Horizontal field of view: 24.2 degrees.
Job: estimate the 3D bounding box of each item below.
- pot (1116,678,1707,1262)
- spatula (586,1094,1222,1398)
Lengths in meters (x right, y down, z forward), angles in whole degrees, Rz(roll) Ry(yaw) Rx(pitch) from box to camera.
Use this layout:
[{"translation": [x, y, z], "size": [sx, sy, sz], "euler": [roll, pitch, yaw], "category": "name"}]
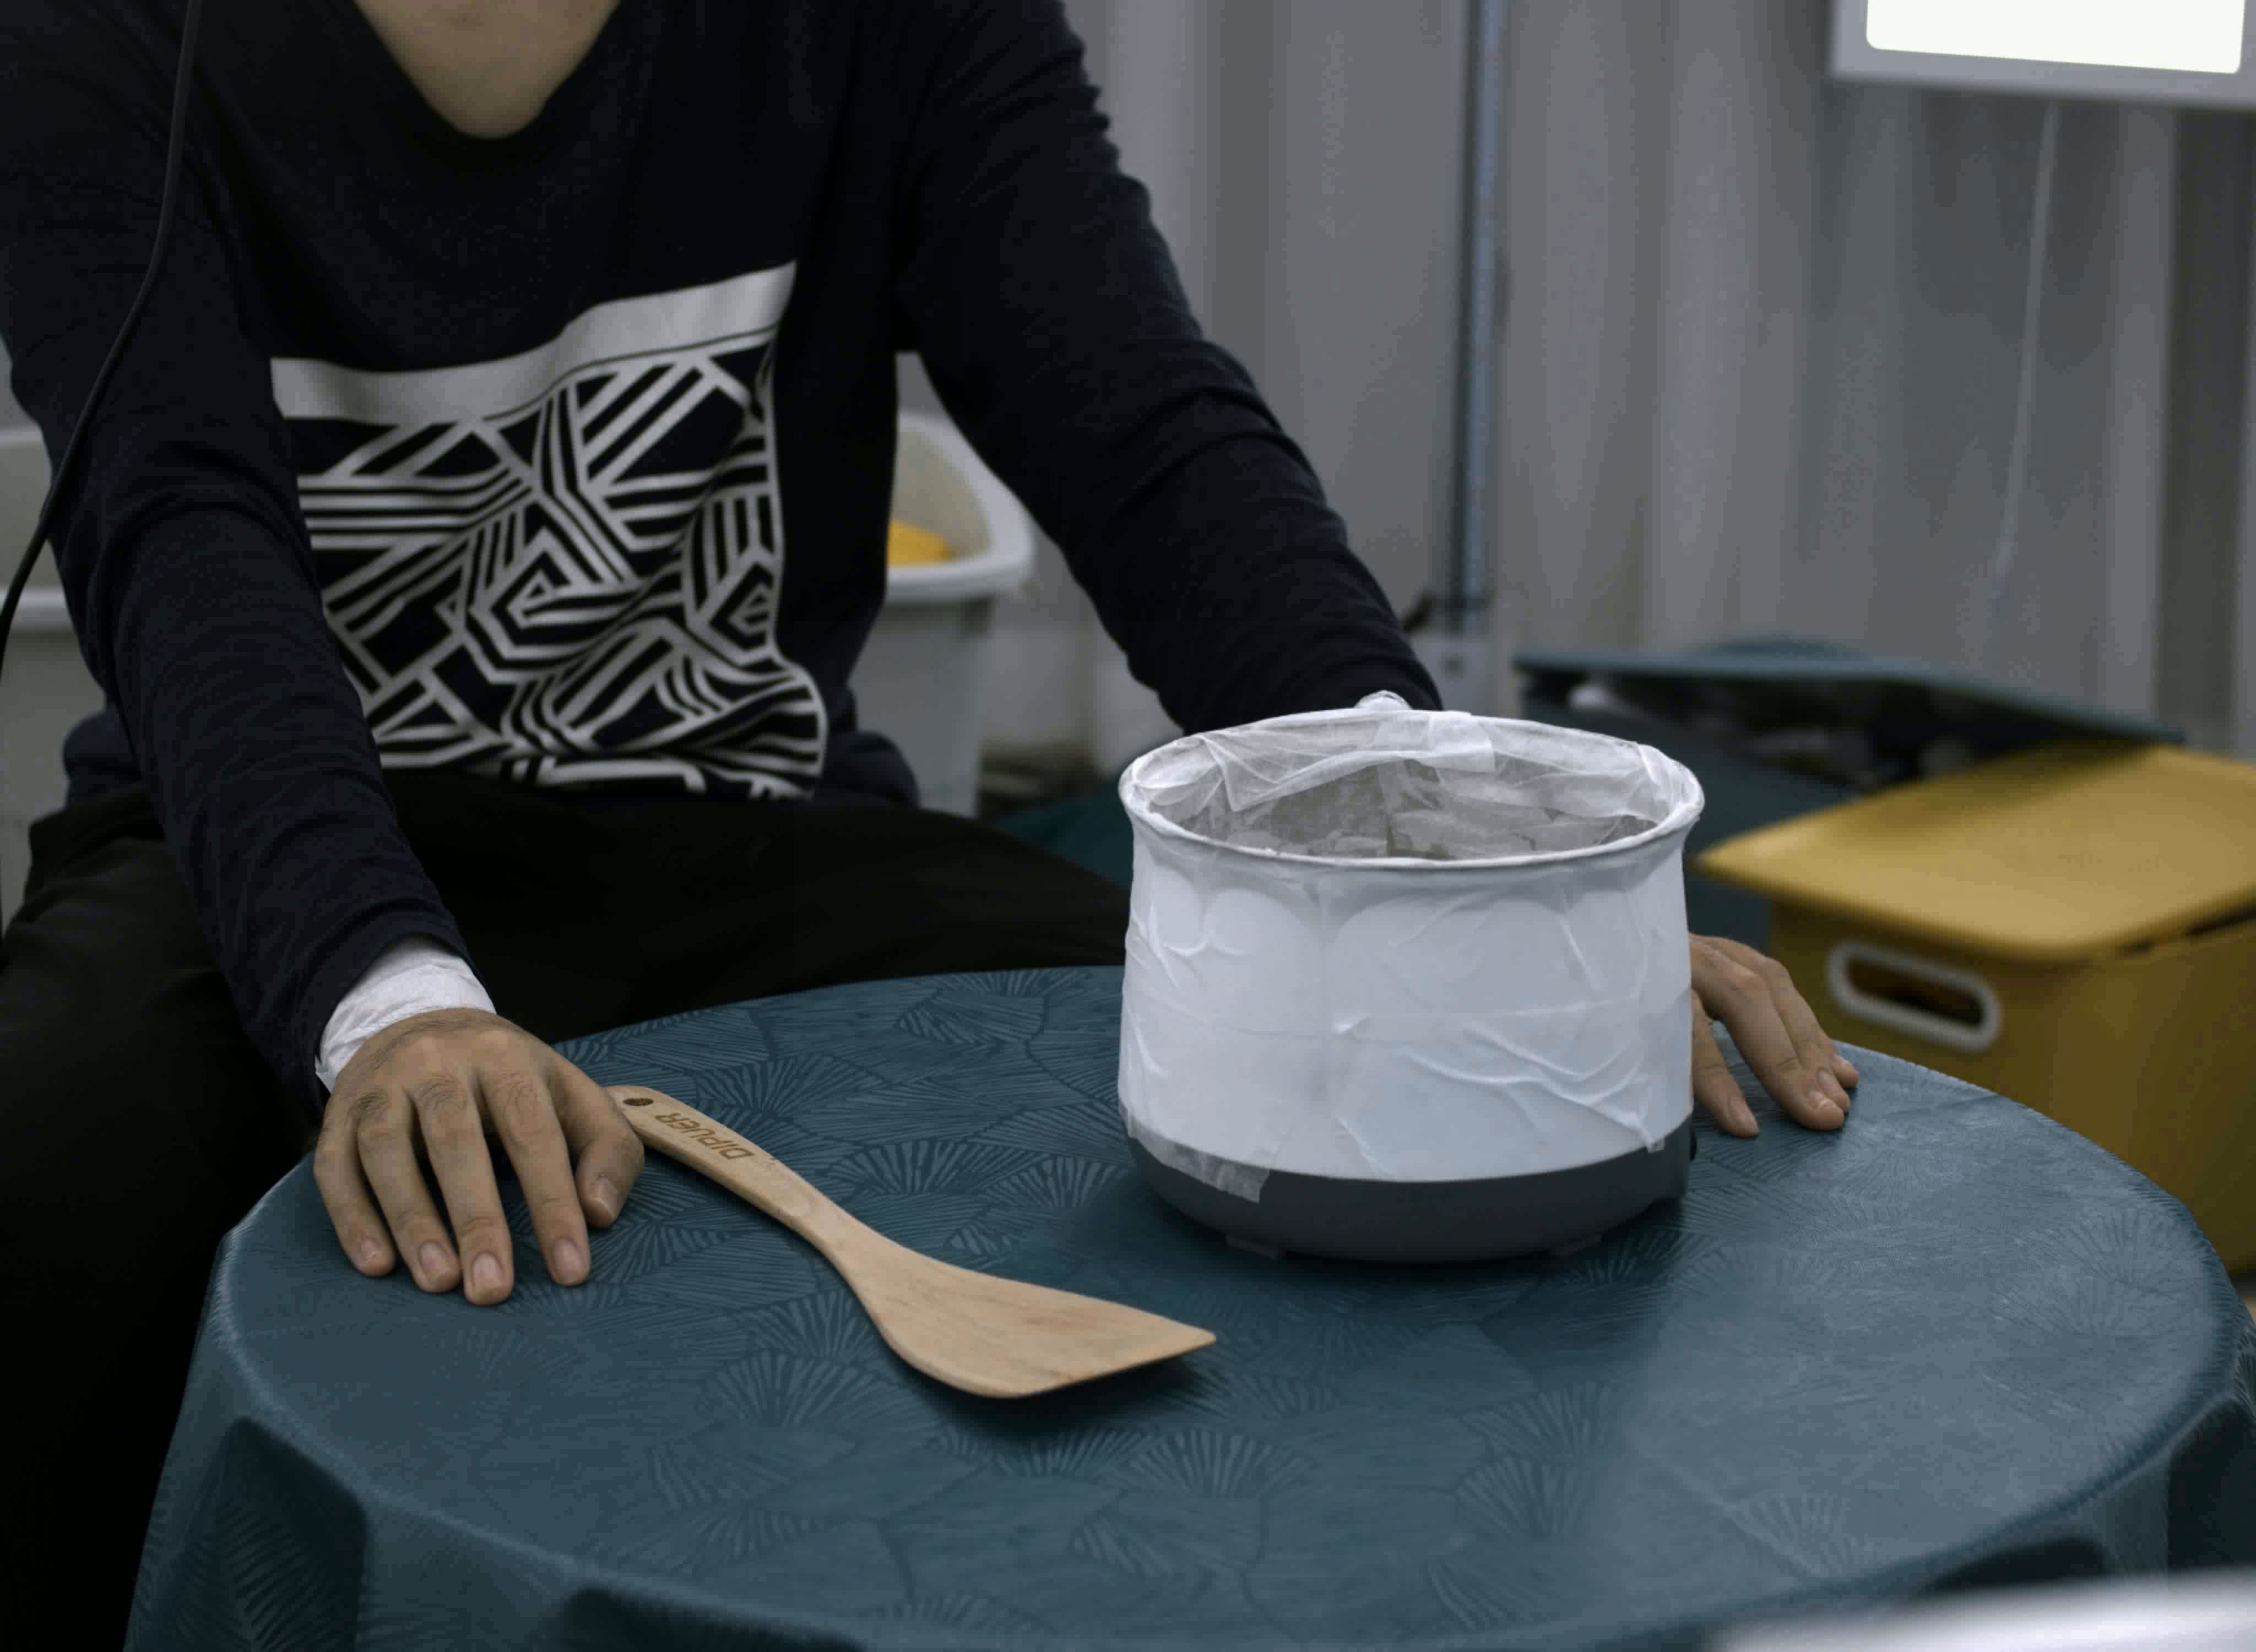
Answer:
[{"translation": [0.083, 0.039, 1.627], "size": [0.178, 0.138, 0.232], "euler": [0, 17, -4], "category": "pot"}, {"translation": [-0.082, 0.120, 1.566], "size": [0.080, 0.016, 0.323], "euler": [-8, 17, -31], "category": "spatula"}]
